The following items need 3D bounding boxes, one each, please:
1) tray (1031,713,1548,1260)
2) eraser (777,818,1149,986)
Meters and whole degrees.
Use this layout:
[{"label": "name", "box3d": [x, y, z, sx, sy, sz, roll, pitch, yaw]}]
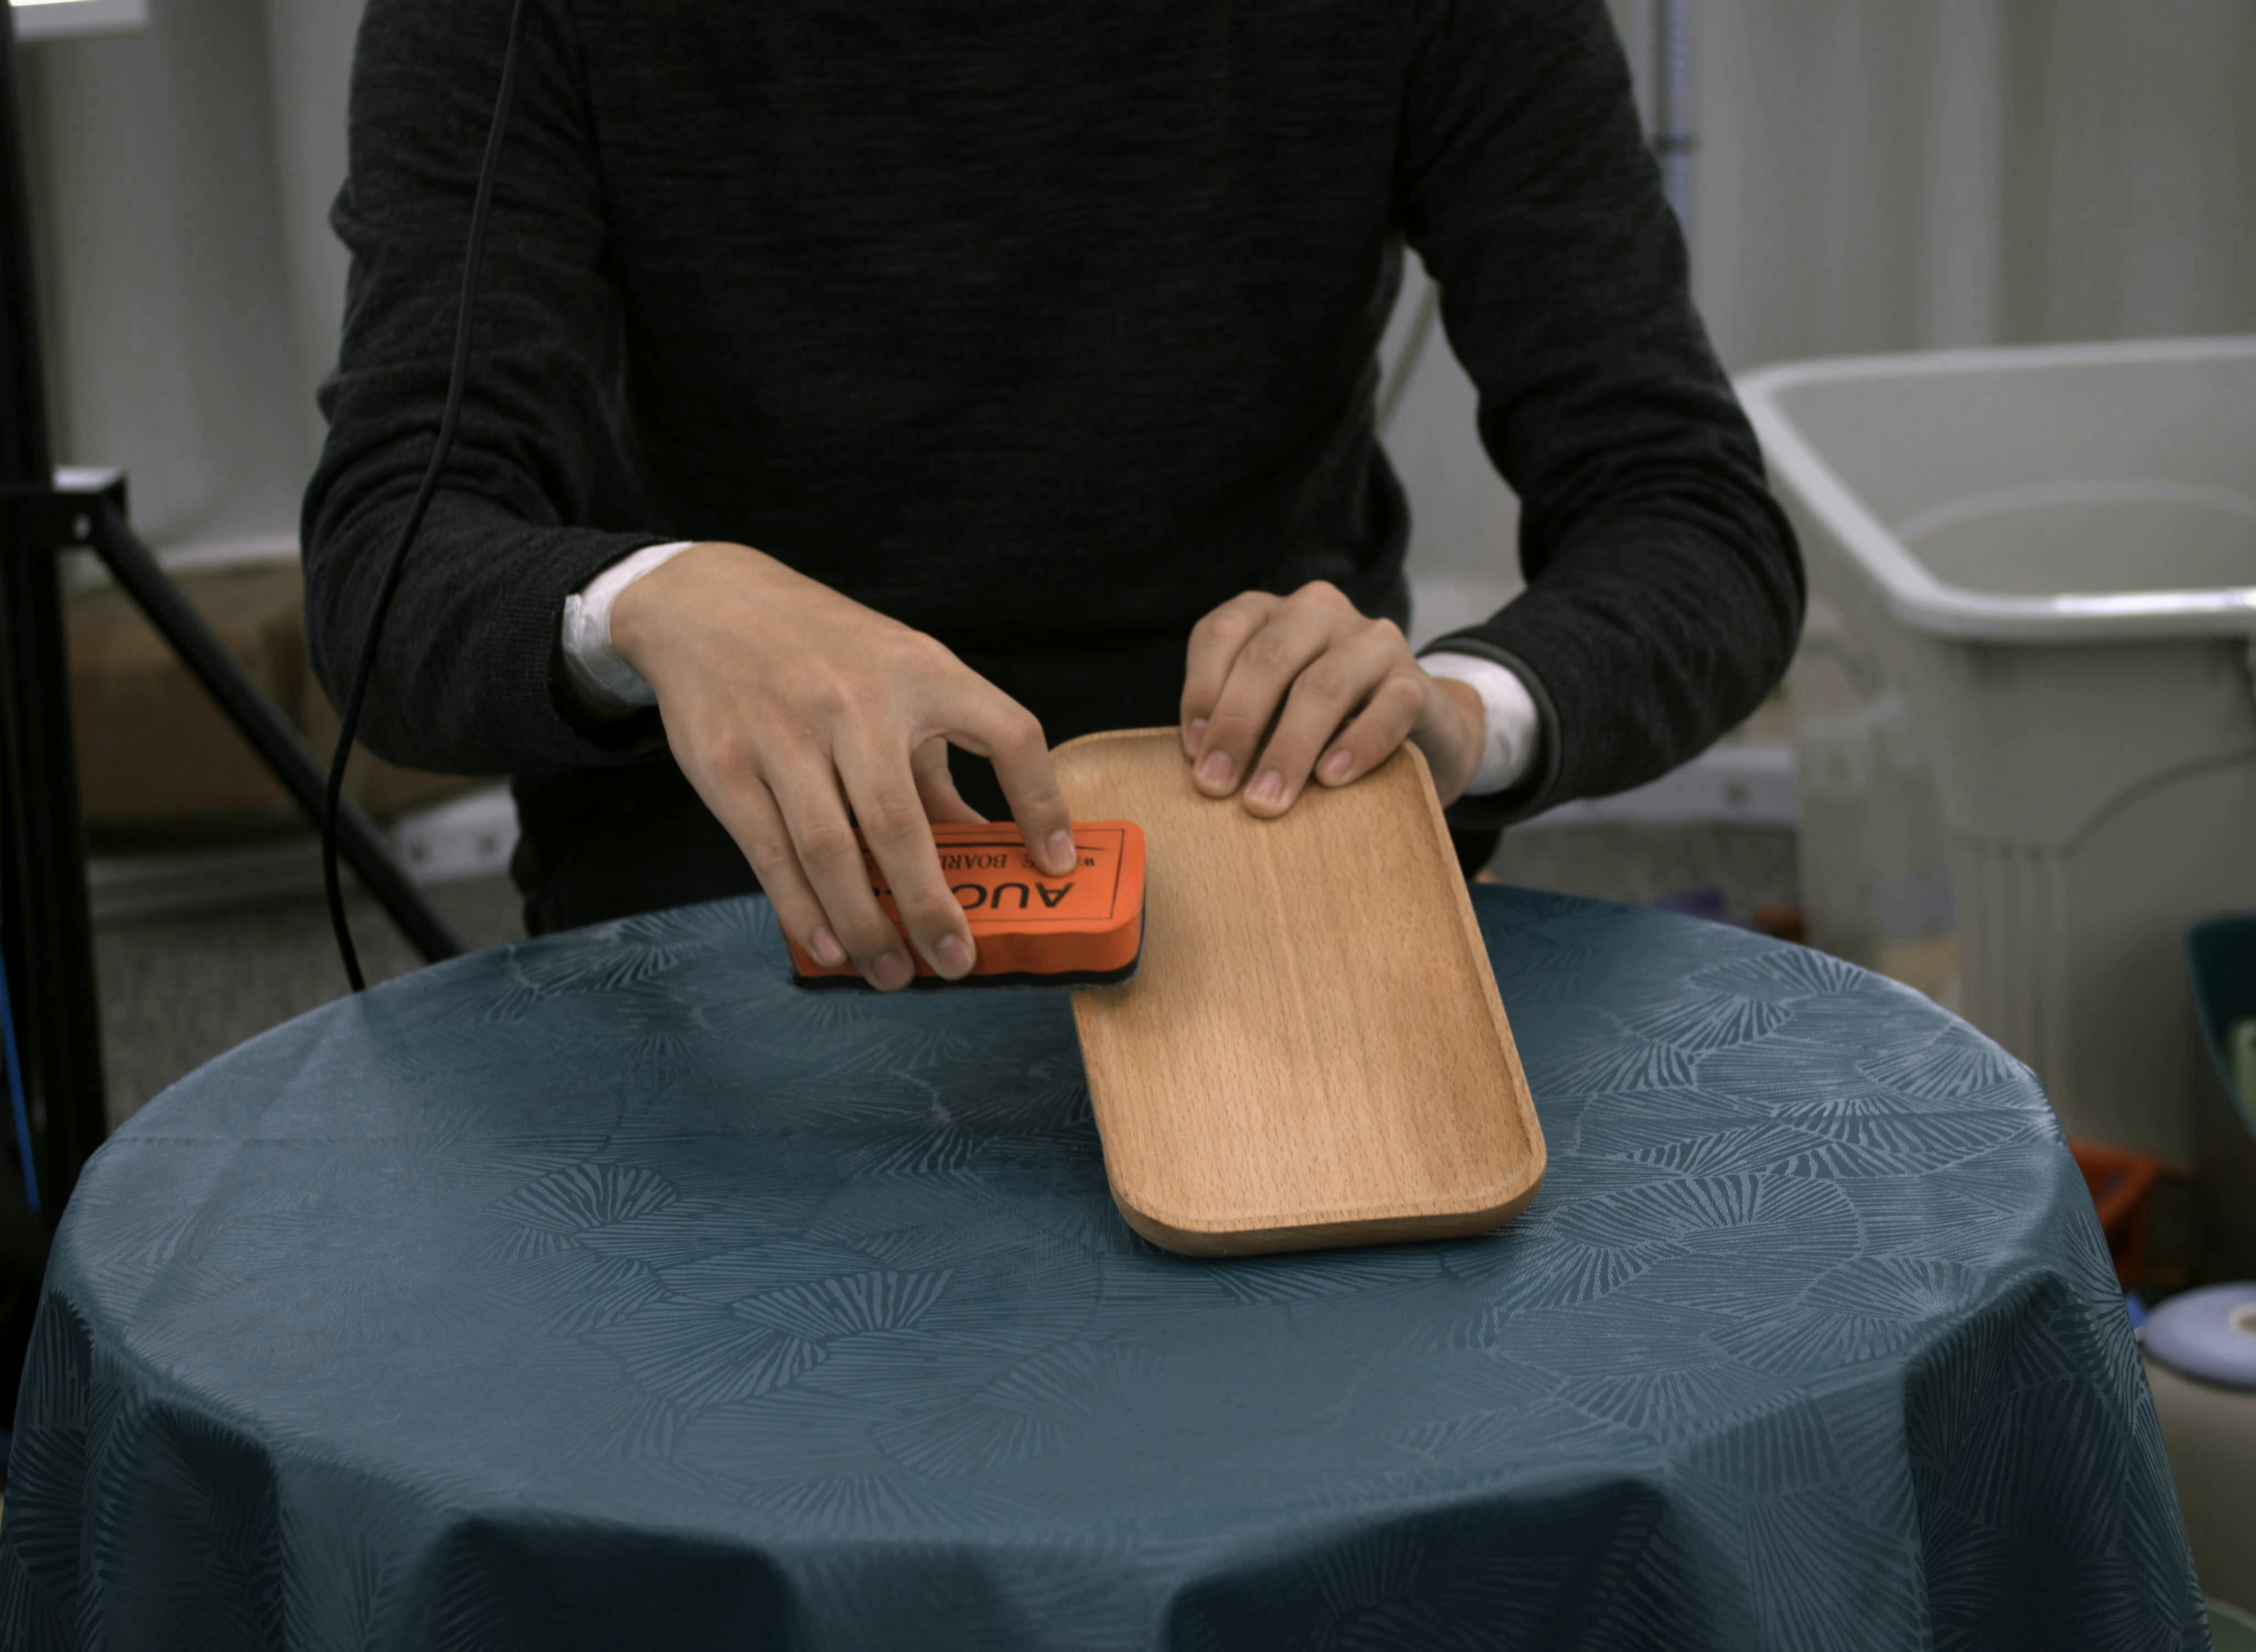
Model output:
[{"label": "tray", "box3d": [0.045, 0.045, 1.596, 0.129, 0.023, 0.254, -2, 35, -6]}, {"label": "eraser", "box3d": [-0.049, 0.023, 1.605, 0.108, 0.023, 0.059, 0, 35, 11]}]
